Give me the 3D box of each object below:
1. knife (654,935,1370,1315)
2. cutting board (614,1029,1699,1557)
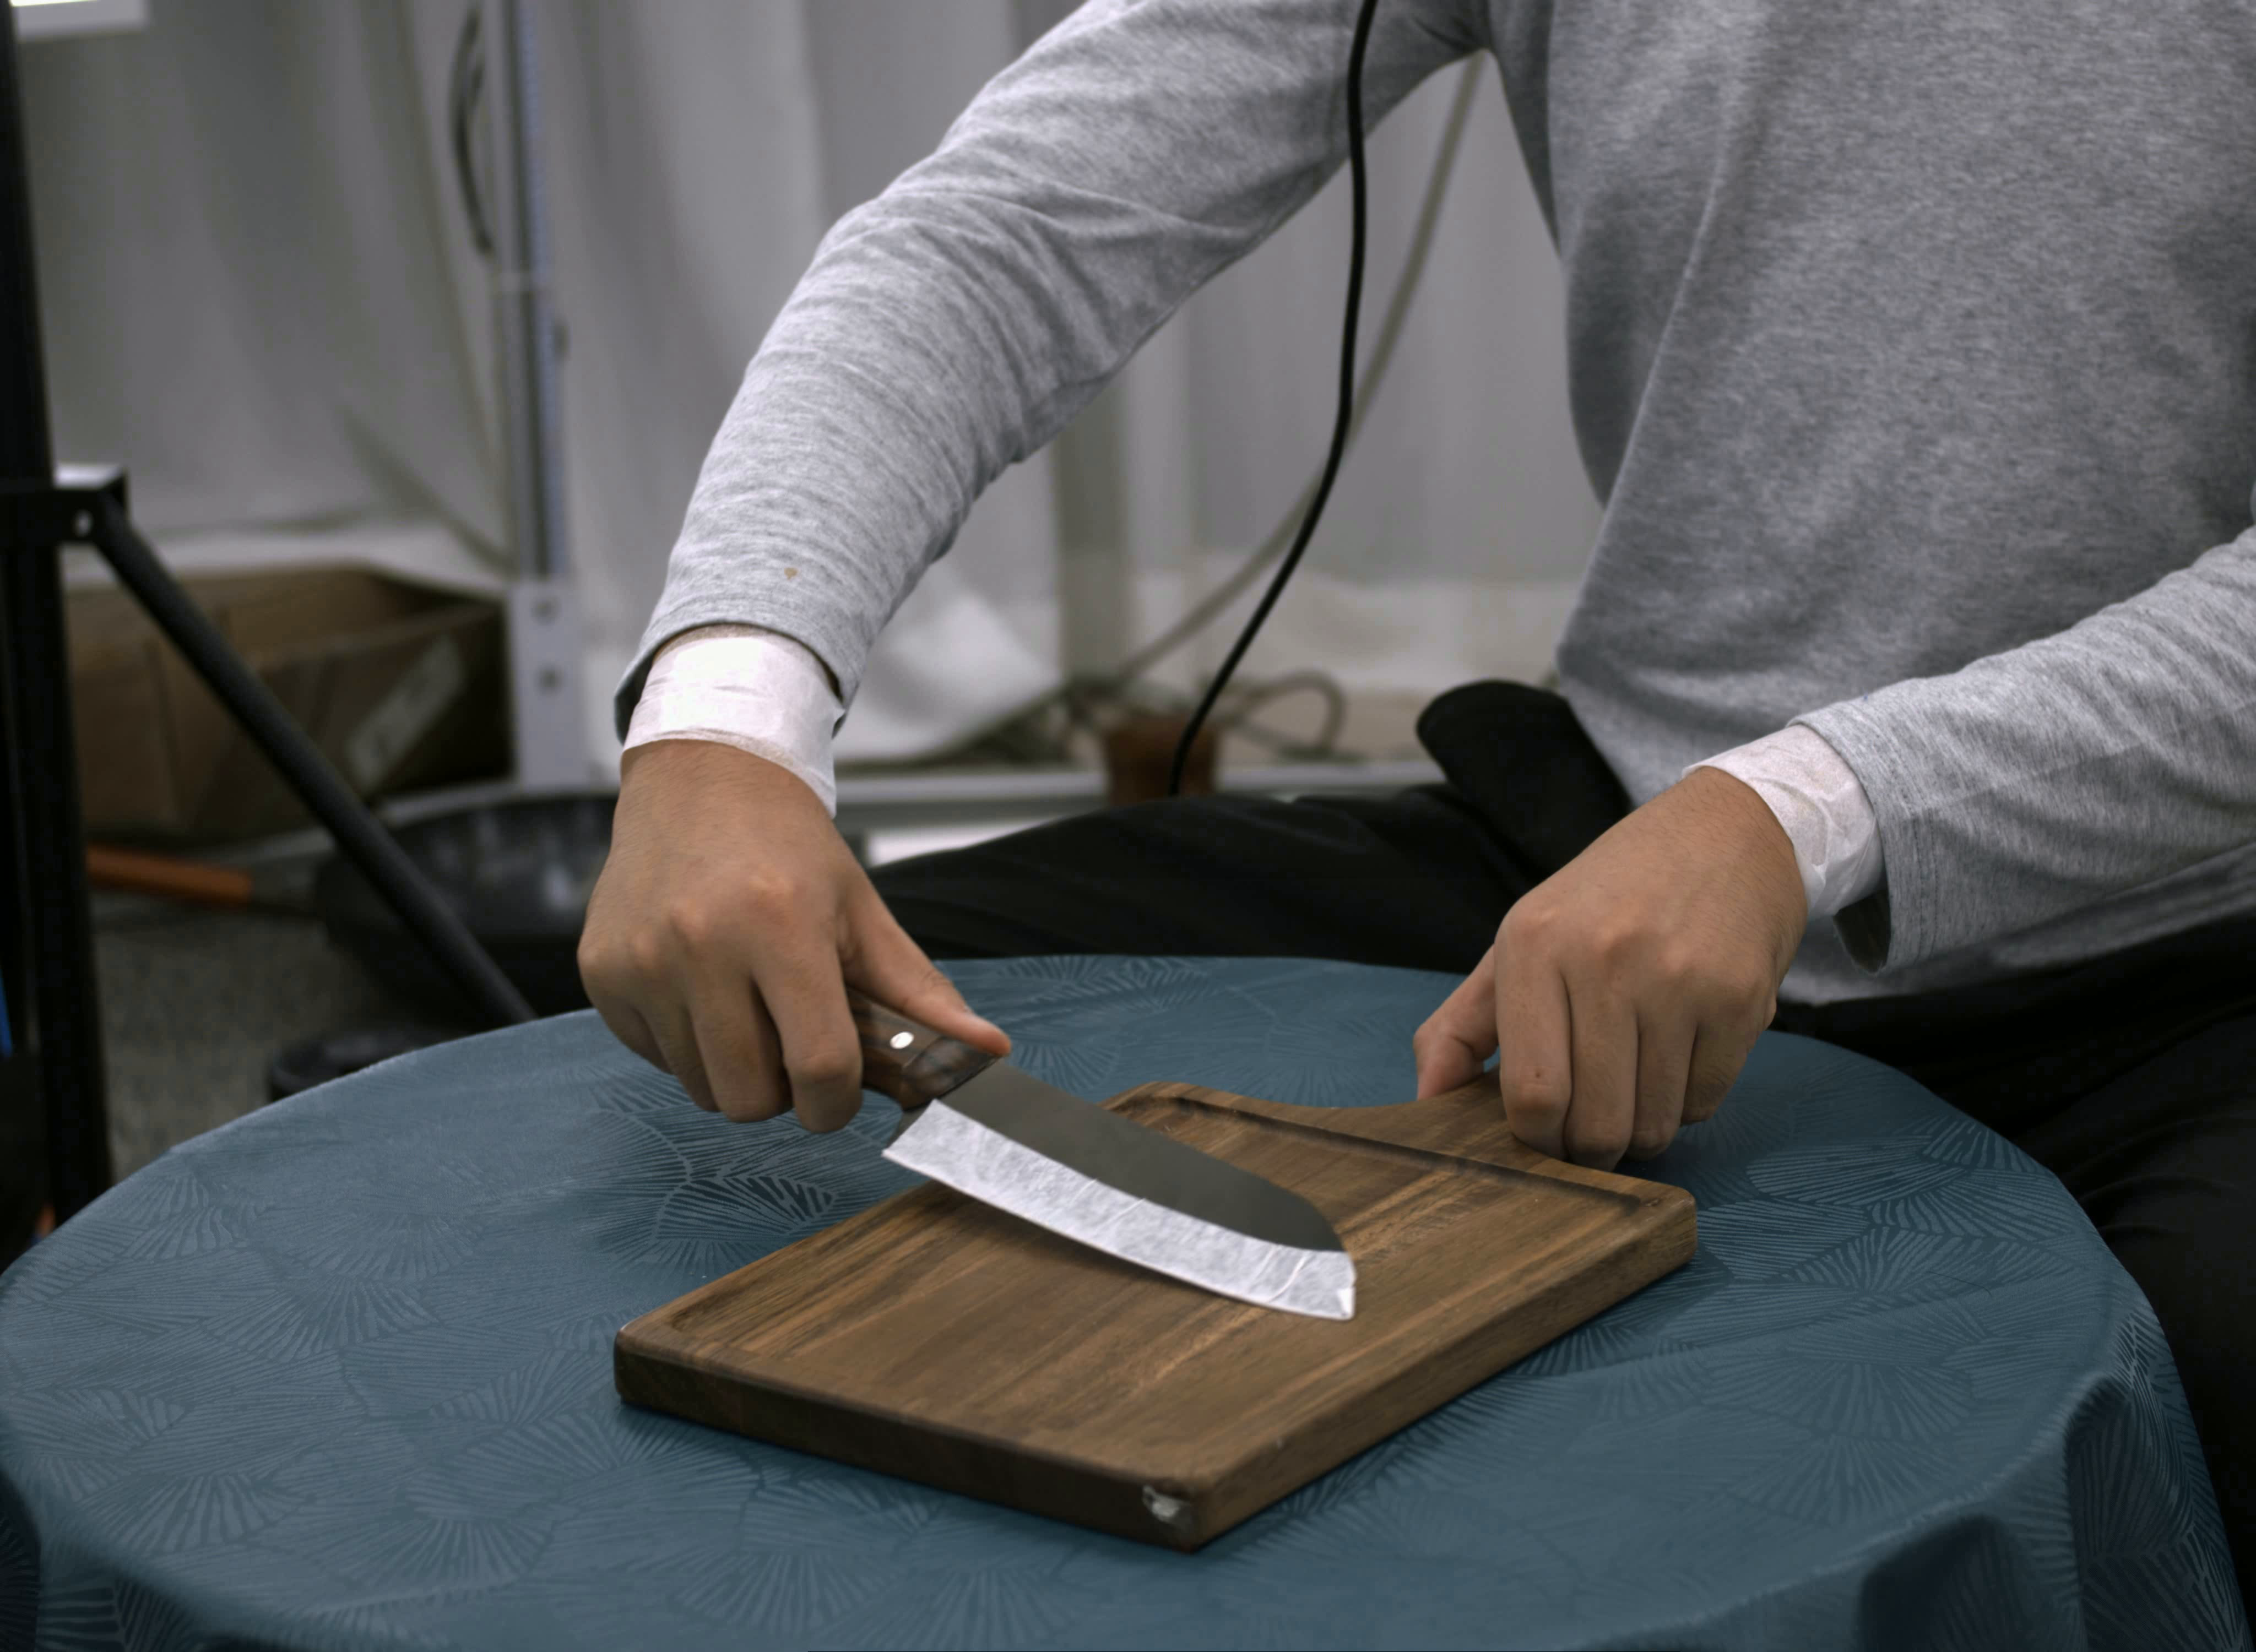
[{"bbox_3d":[-0.037,0.084,1.511,0.296,0.020,0.050,23,58,42],"label":"knife"},{"bbox_3d":[0.041,0.116,1.487,0.205,0.023,0.345,10,21,36],"label":"cutting board"}]
